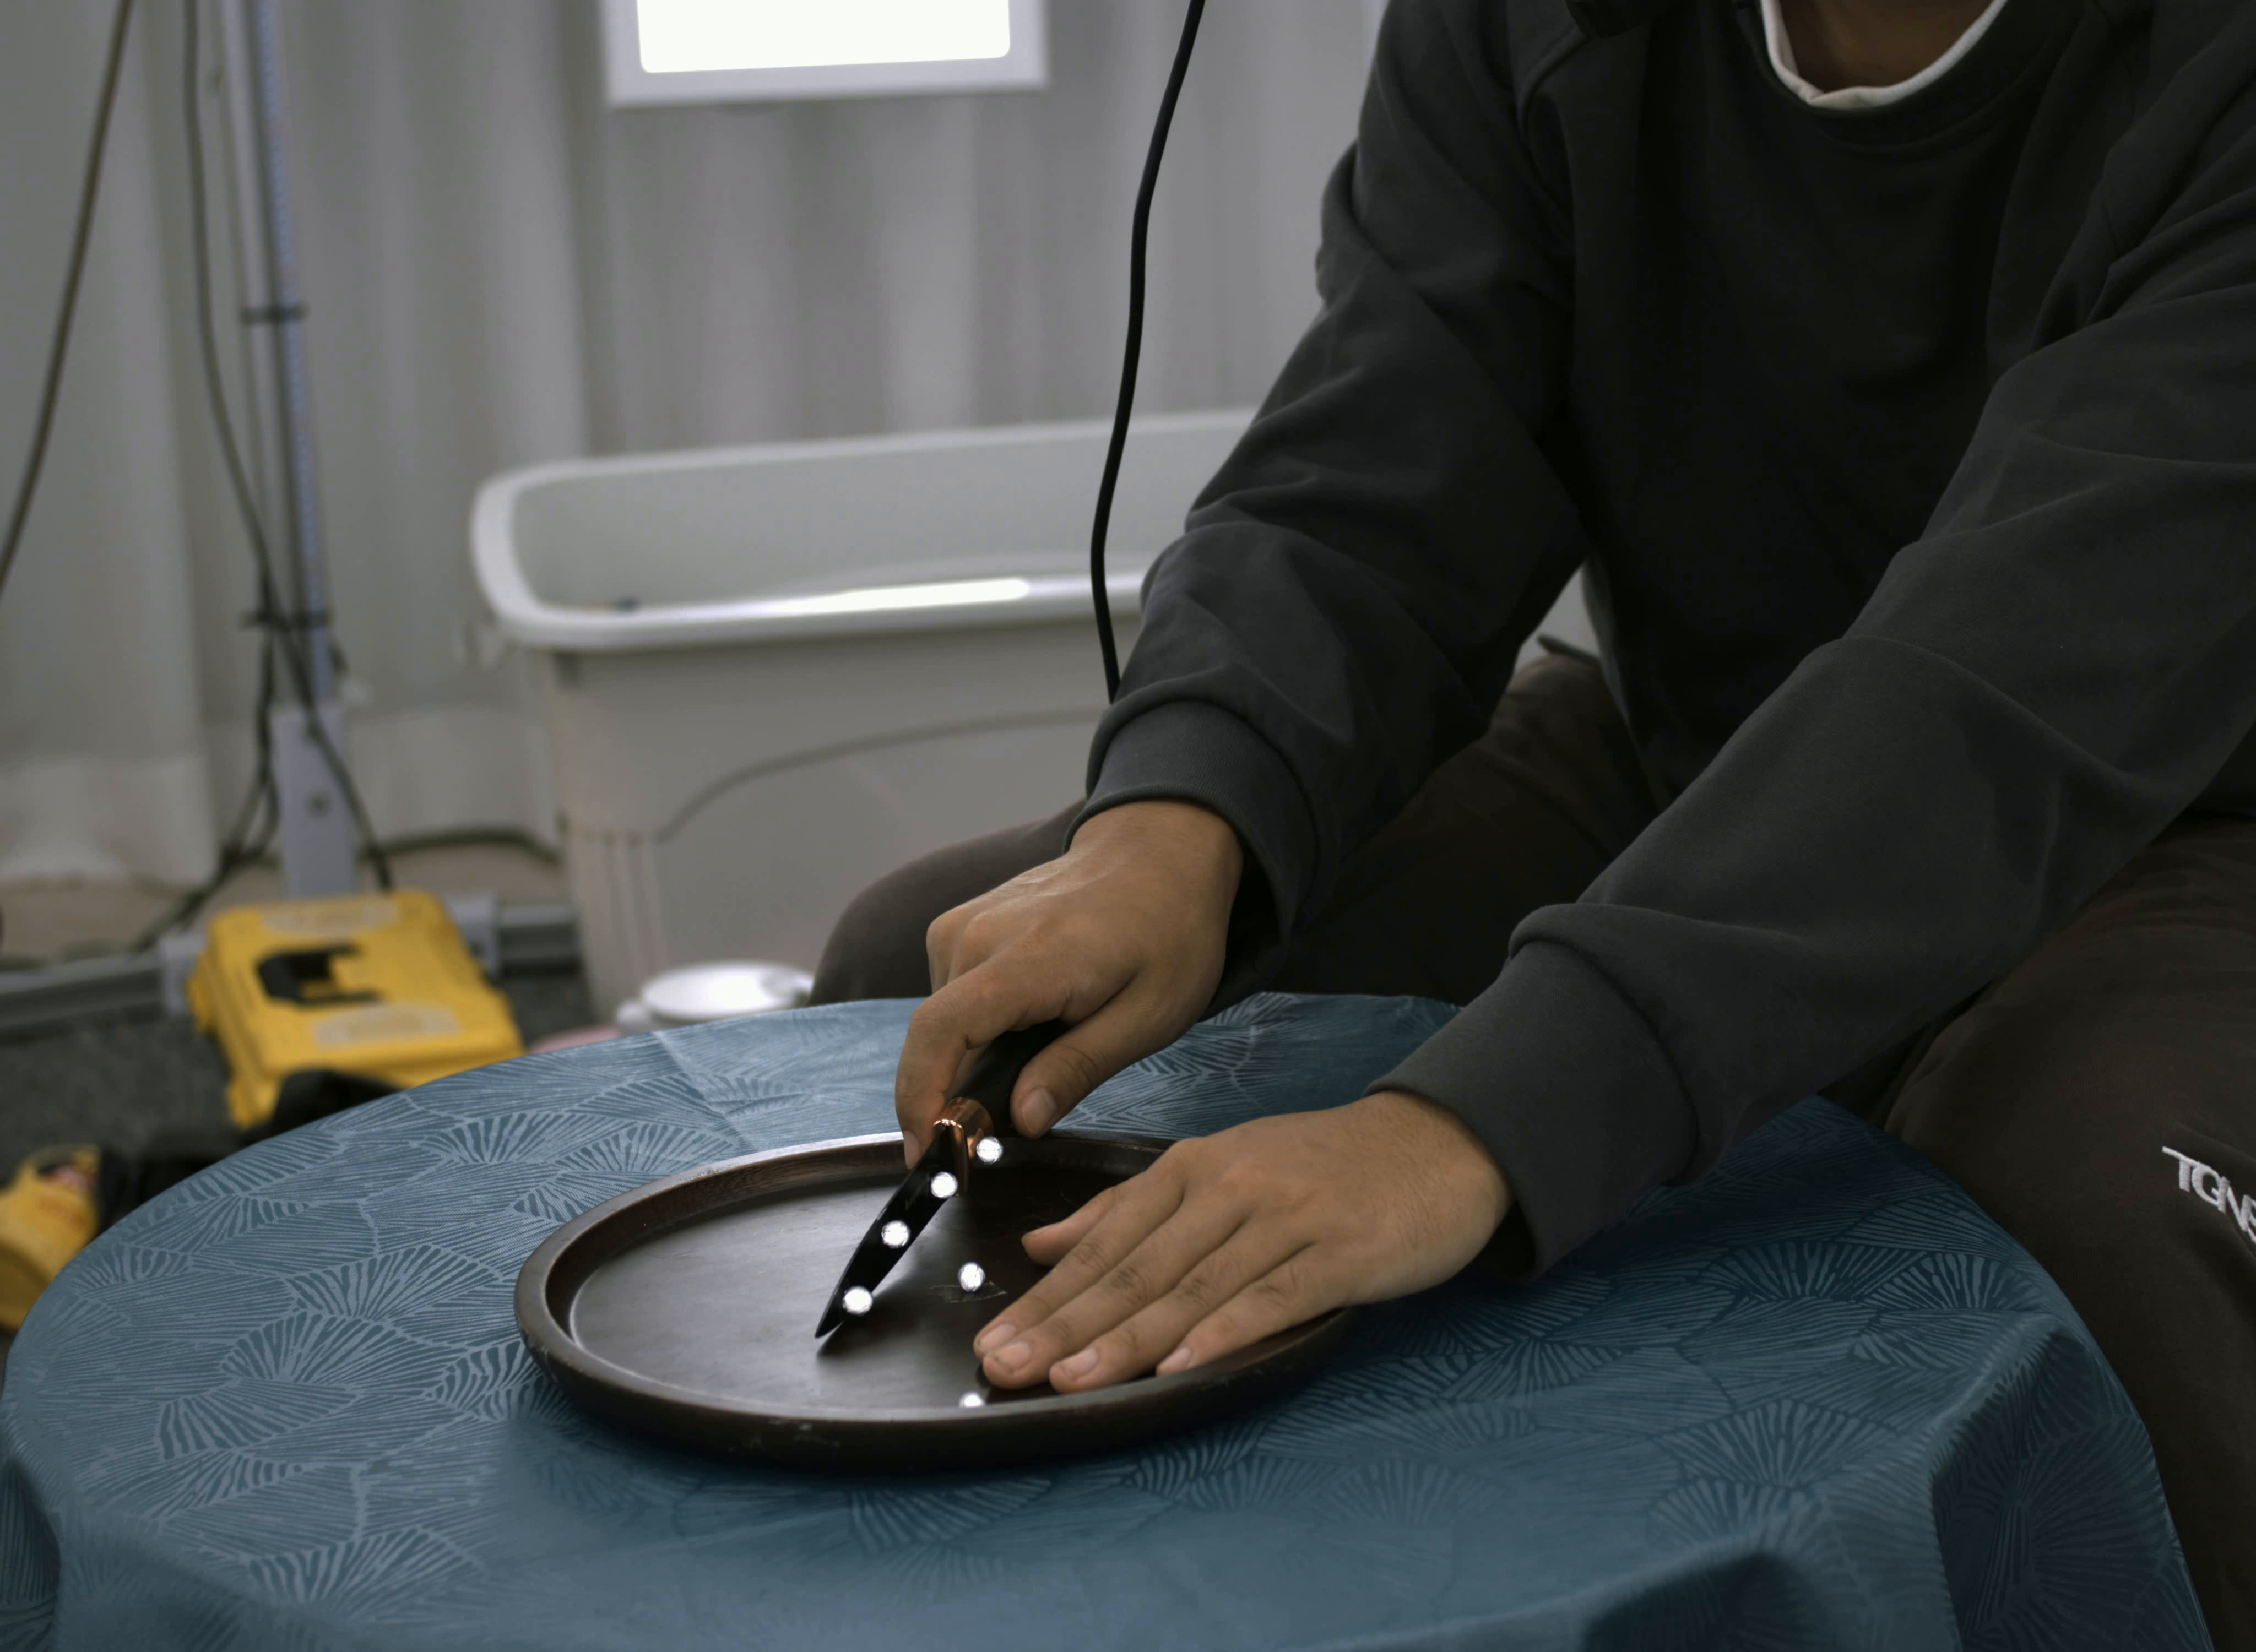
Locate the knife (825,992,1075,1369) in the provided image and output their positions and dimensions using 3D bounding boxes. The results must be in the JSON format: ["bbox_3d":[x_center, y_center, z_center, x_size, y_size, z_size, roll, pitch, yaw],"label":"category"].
[{"bbox_3d":[-0.054,0.105,1.655,0.017,0.026,0.227,-4,22,20],"label":"knife"}]

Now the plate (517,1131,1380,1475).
[{"bbox_3d":[-0.052,0.137,1.598,0.254,0.029,0.256,-3,14,0],"label":"plate"}]
